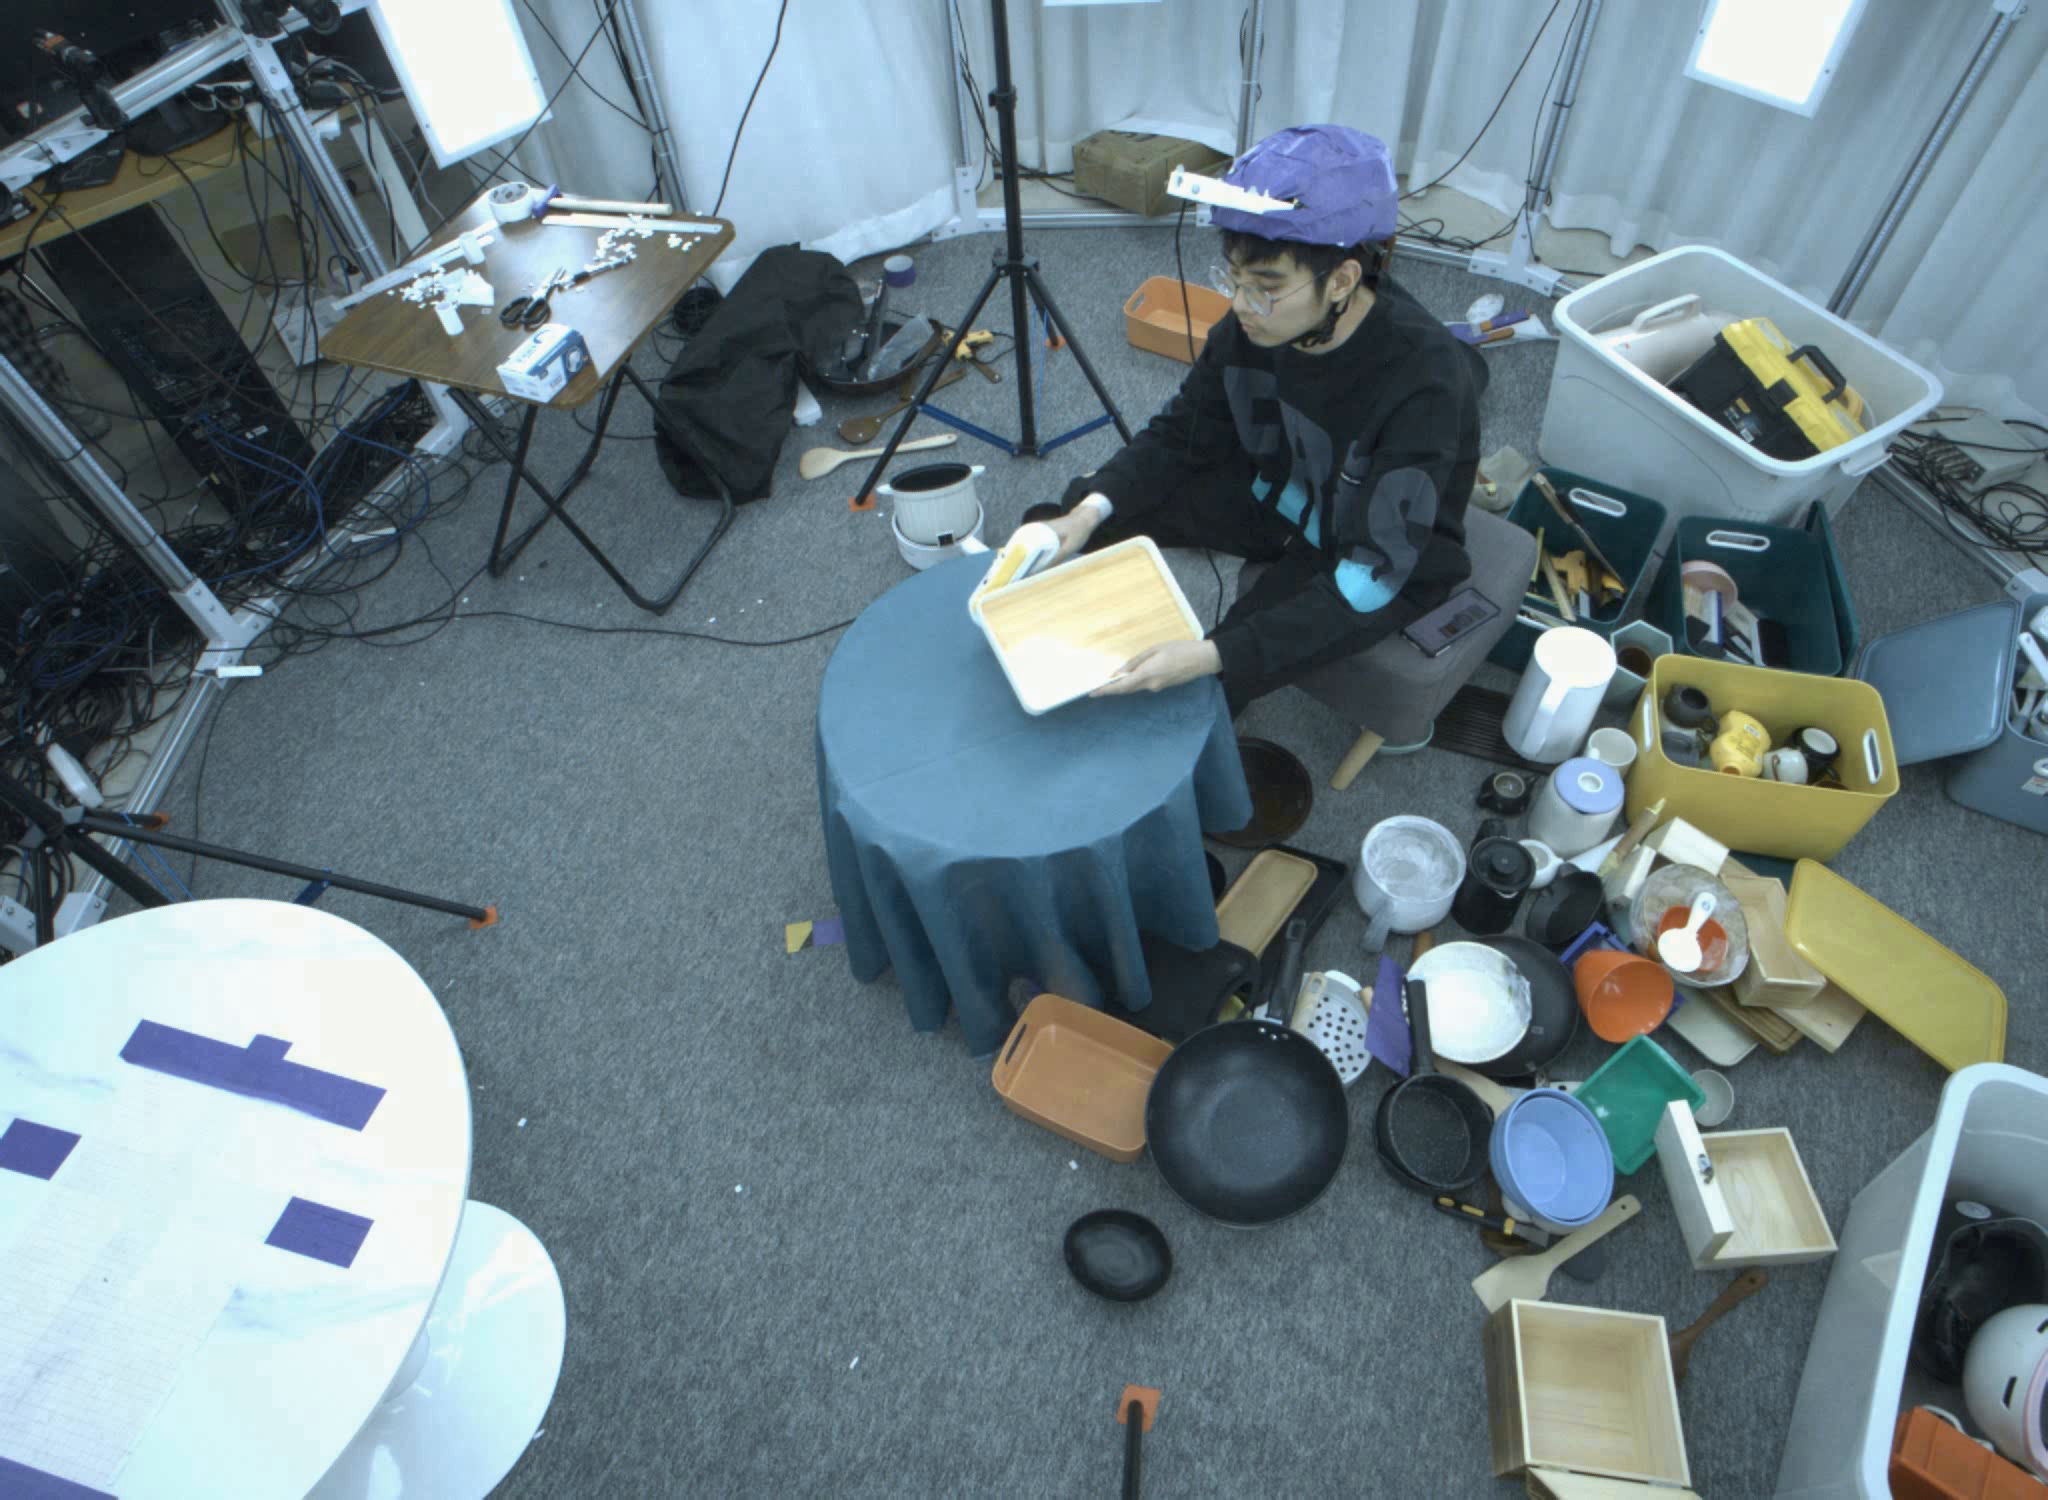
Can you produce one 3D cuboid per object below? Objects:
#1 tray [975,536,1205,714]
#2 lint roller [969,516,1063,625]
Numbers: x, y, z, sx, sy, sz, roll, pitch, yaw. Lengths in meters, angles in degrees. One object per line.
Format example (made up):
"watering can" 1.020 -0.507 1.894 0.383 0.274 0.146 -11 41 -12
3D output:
"tray" 0.096 -0.185 1.786 0.303 0.027 0.190 -23 79 -20
"lint roller" 0.012 -0.281 1.851 0.073 0.192 0.195 45 34 15
